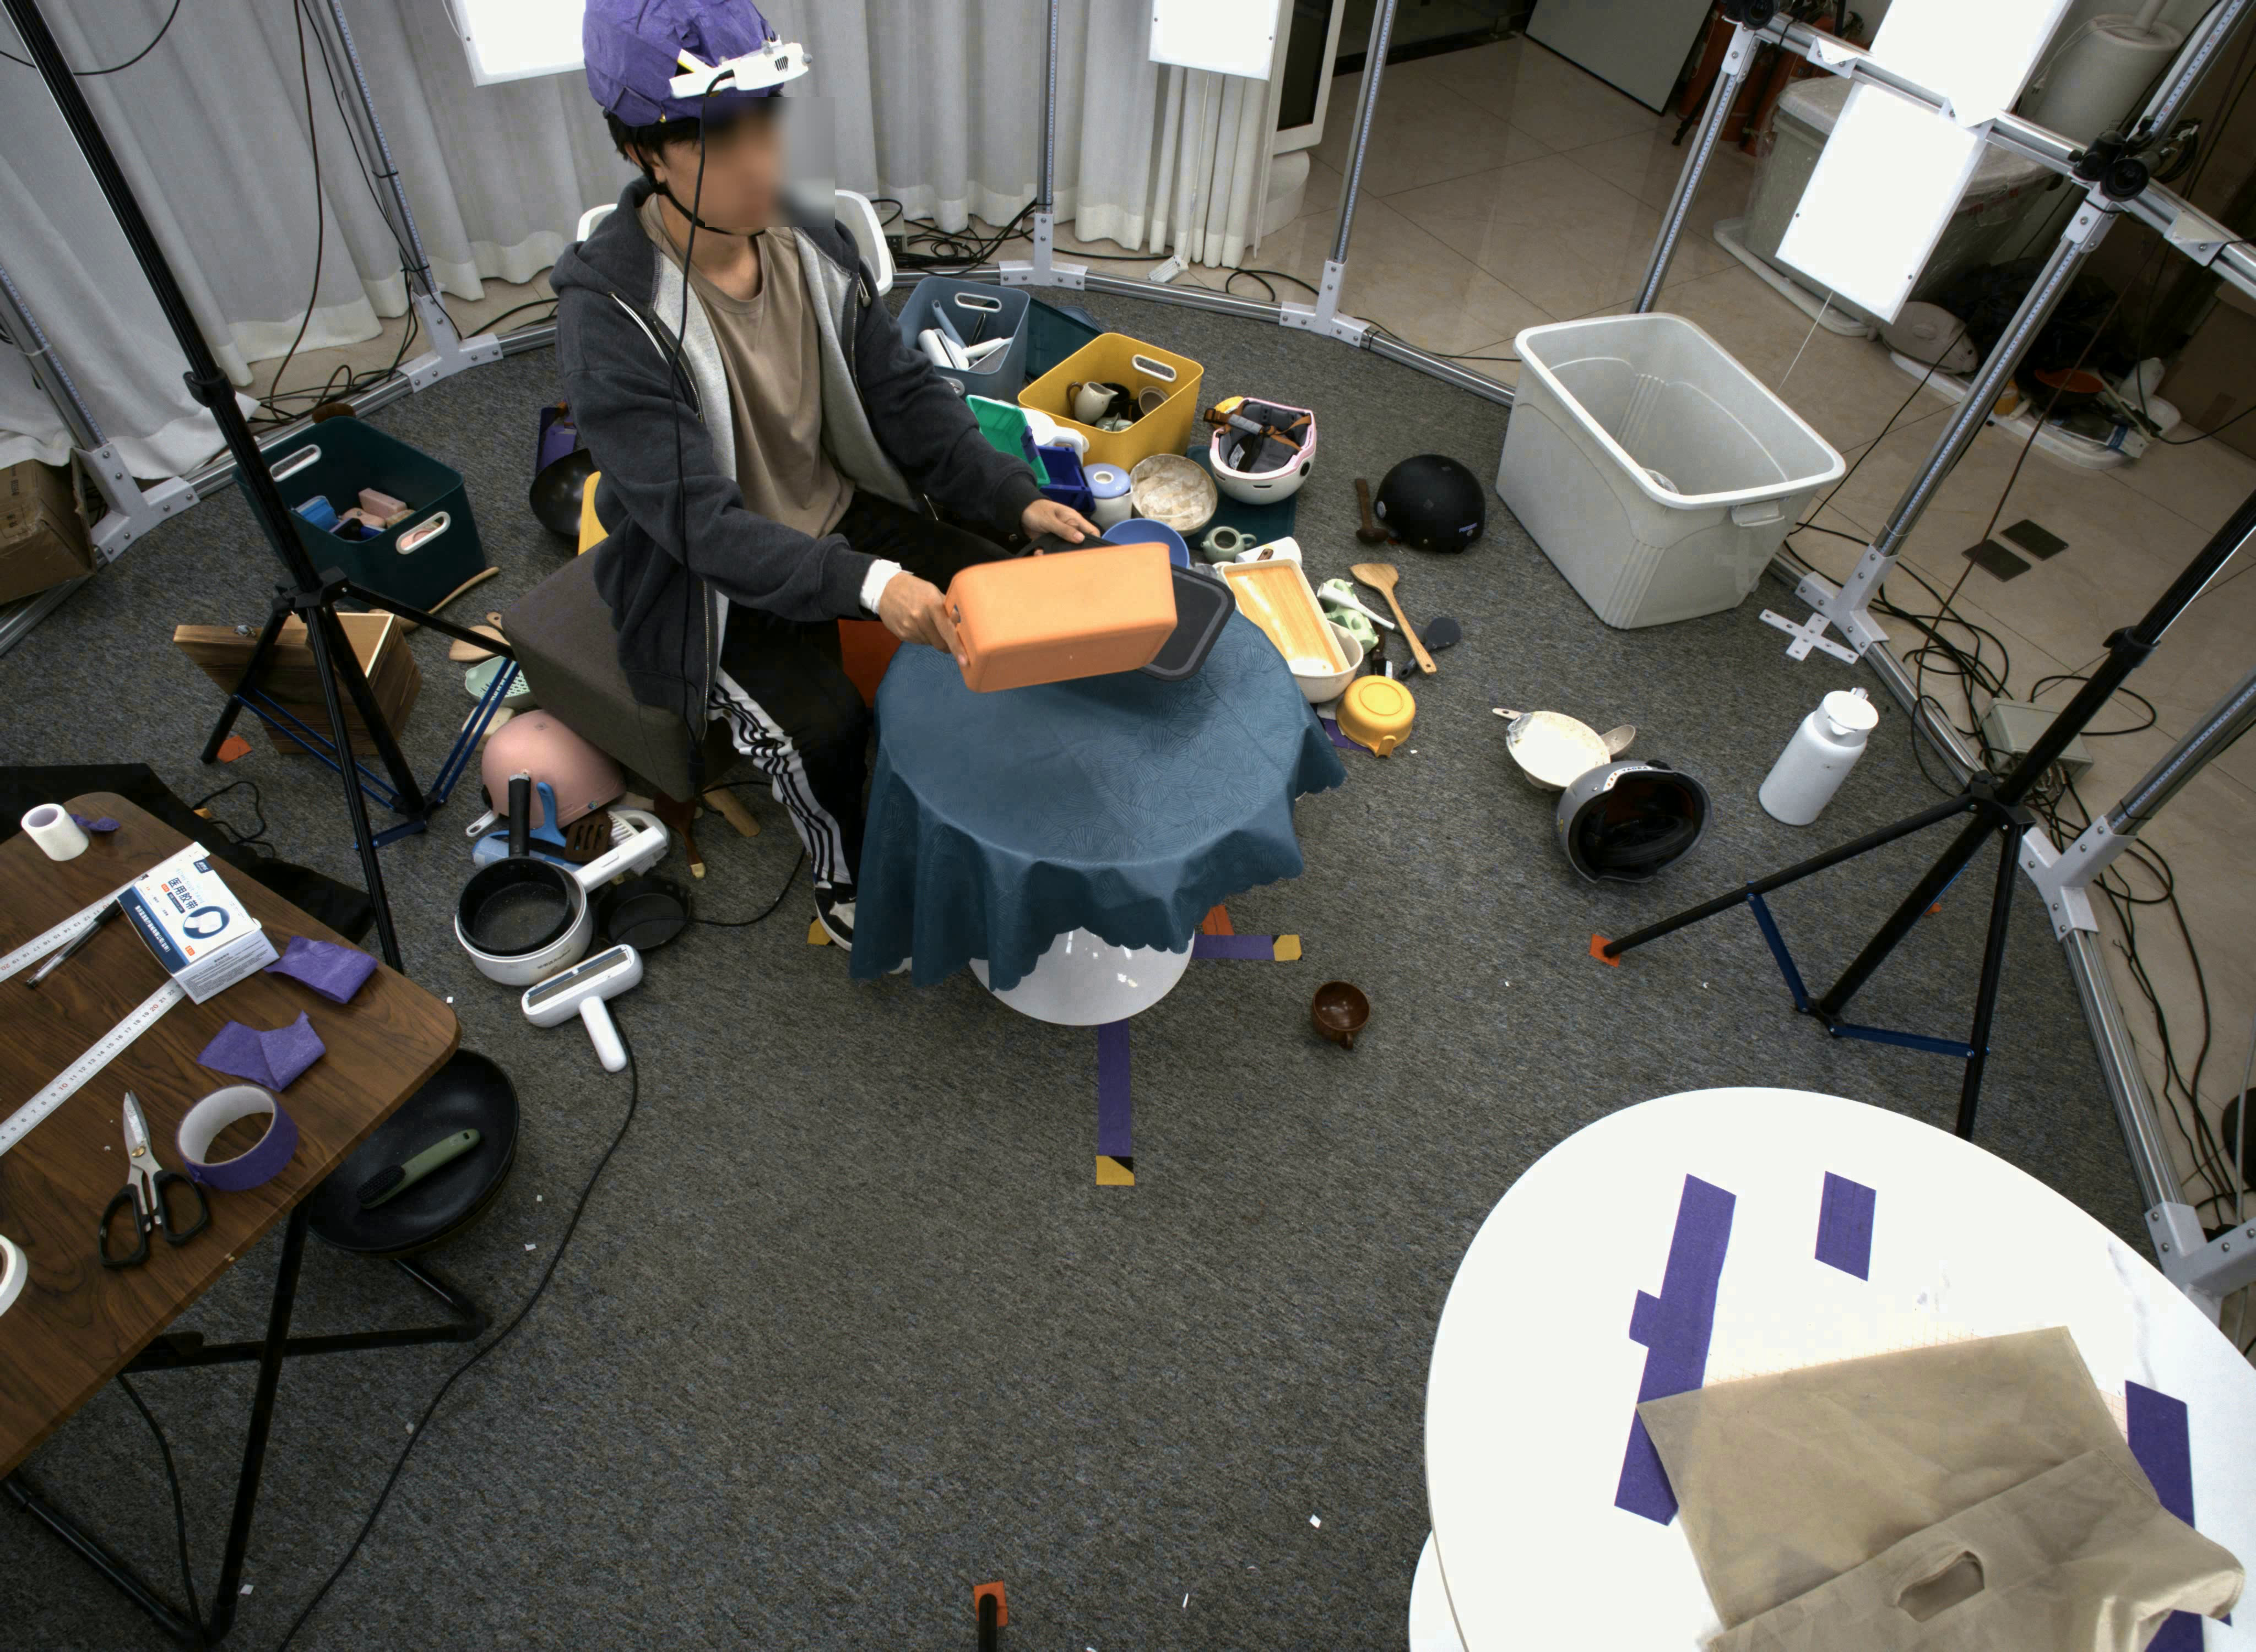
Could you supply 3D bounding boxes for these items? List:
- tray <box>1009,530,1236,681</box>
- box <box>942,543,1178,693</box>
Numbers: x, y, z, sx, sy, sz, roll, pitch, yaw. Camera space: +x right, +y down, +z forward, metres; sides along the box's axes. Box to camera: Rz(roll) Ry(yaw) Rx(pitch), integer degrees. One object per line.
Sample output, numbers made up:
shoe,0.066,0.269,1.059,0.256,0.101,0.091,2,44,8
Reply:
tray,-0.021,-0.320,1.824,0.327,0.009,0.215,22,56,12
box,-0.080,-0.246,1.556,0.273,0.197,0.103,-10,80,-14
